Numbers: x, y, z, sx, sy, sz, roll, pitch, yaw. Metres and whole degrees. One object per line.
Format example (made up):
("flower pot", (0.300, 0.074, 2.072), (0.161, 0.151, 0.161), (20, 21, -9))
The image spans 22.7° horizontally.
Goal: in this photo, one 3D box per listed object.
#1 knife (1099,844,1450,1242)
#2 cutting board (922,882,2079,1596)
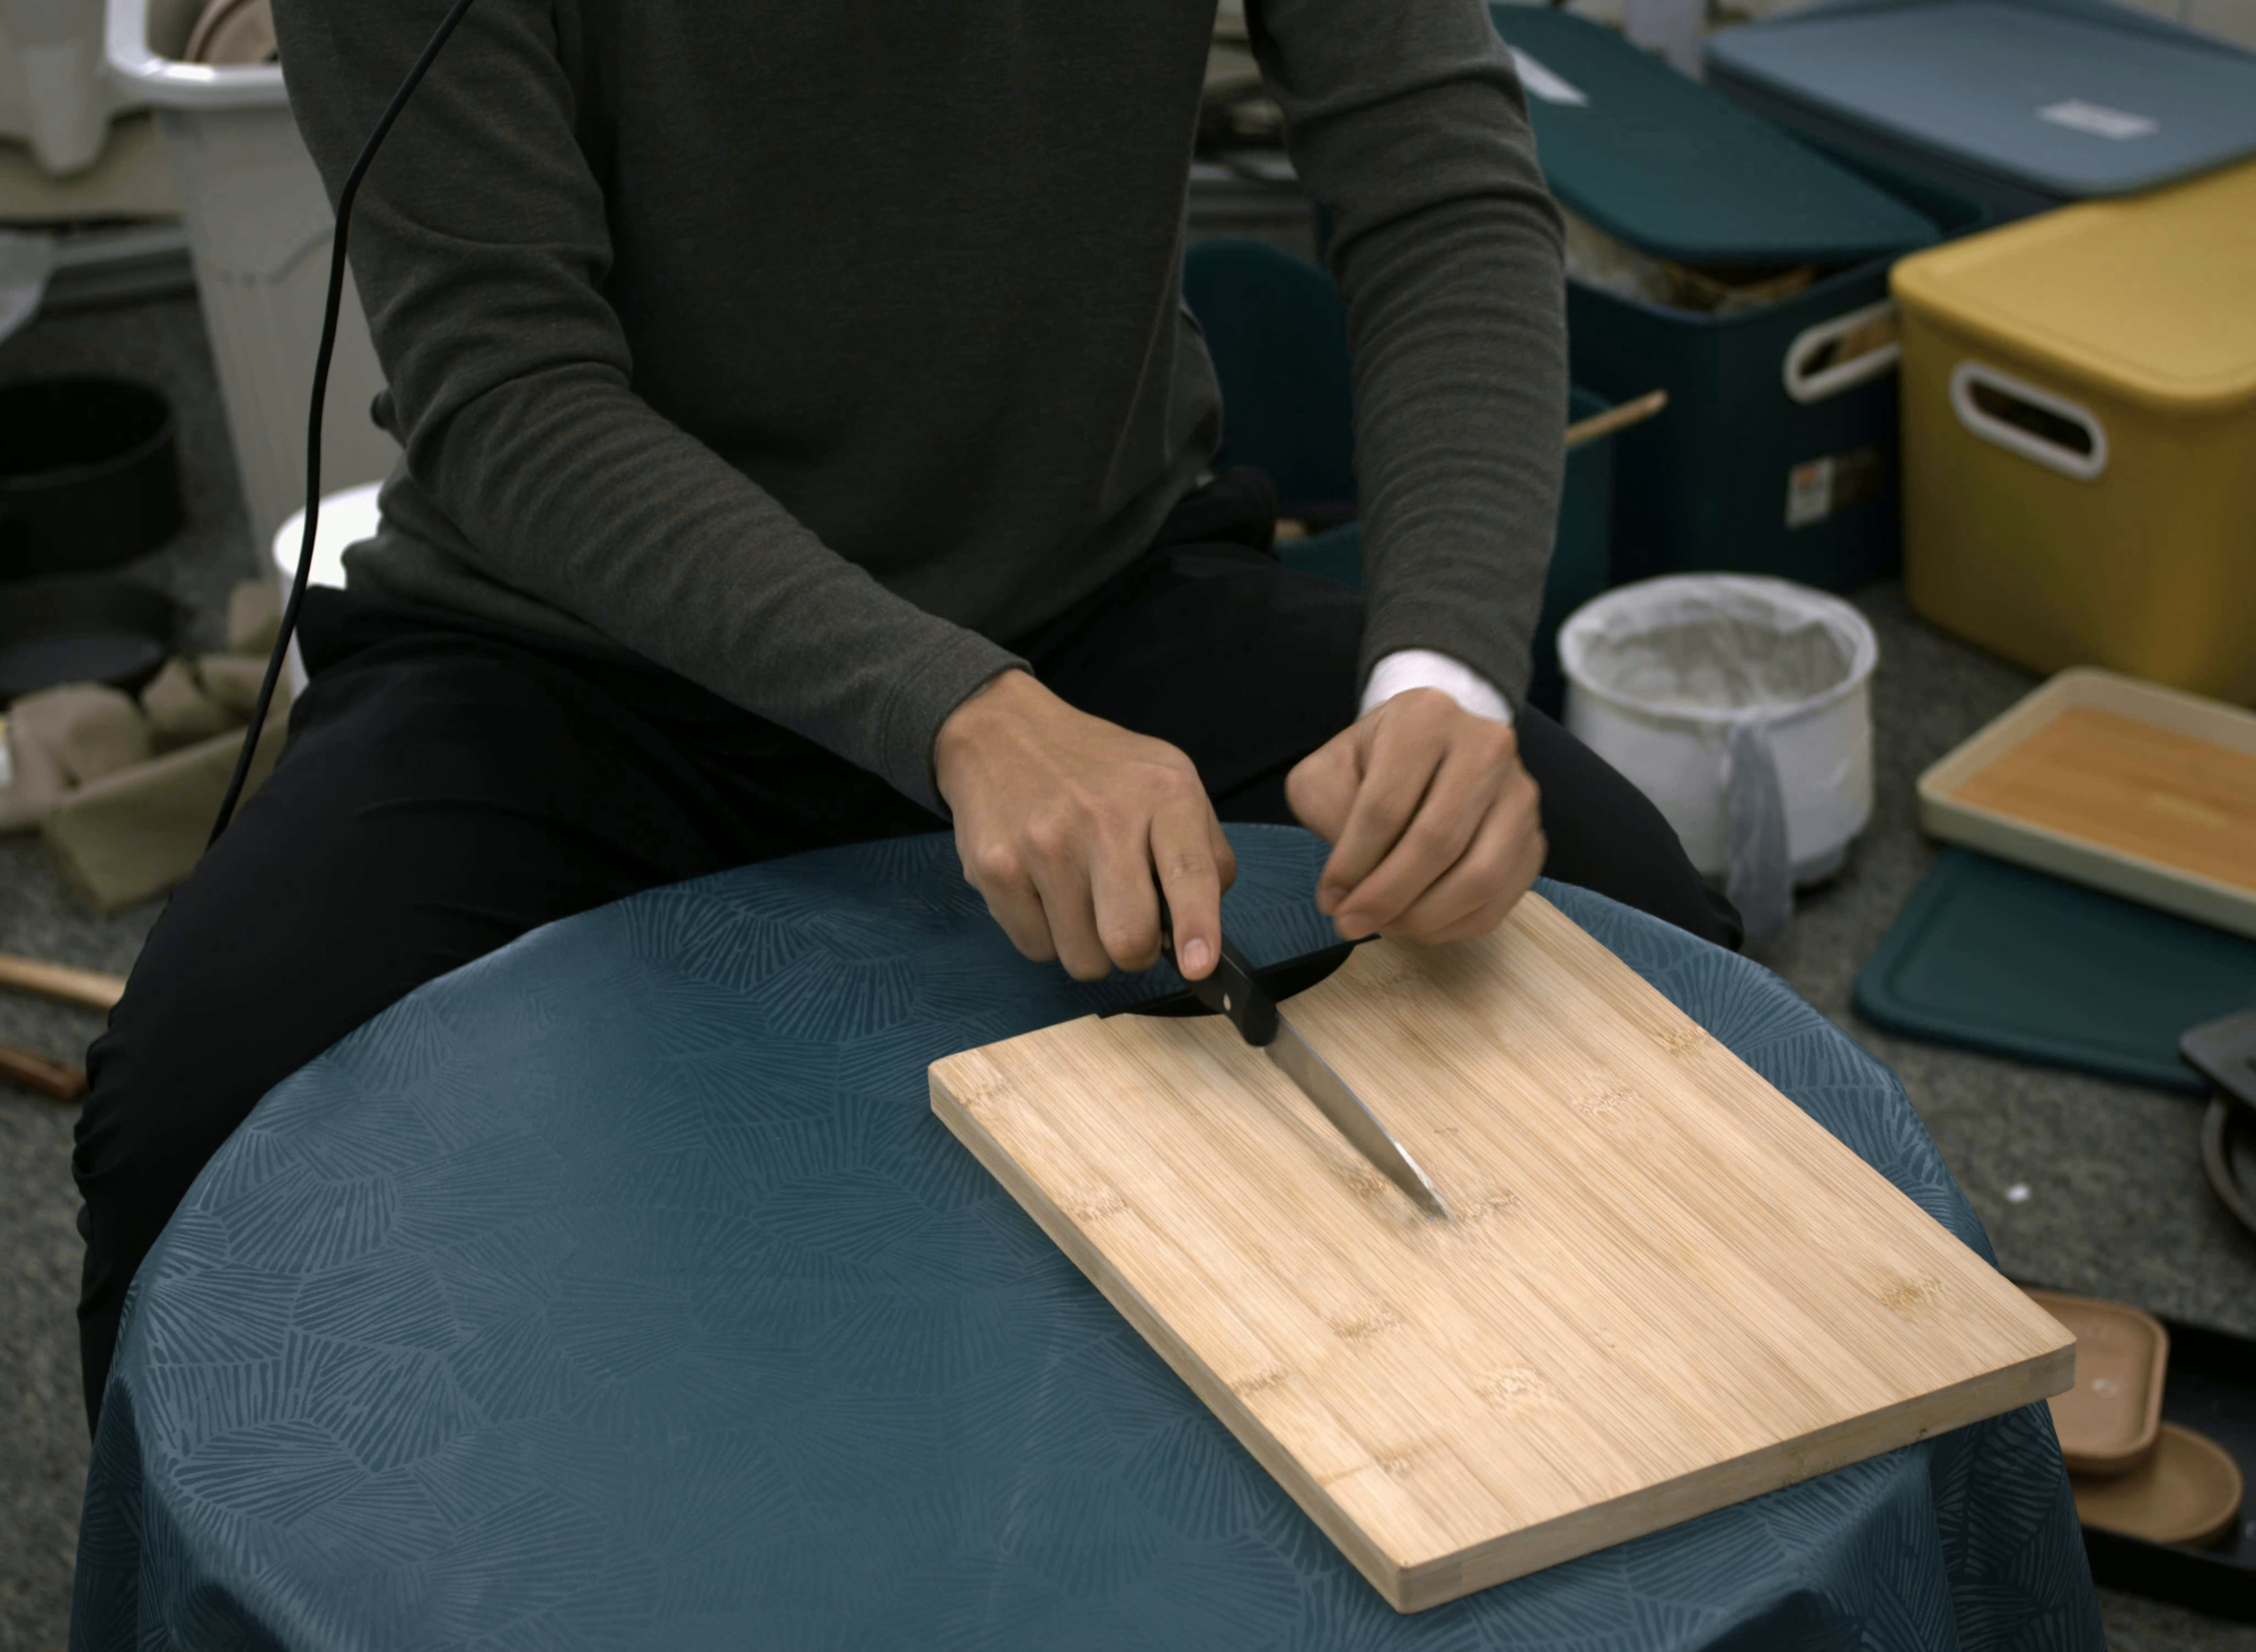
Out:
("knife", (0.048, 0.069, 1.873), (0.016, 0.024, 0.240), (-13, 36, -24))
("cutting board", (0.111, 0.125, 1.827), (0.252, 0.023, 0.350), (-15, 30, -23))
